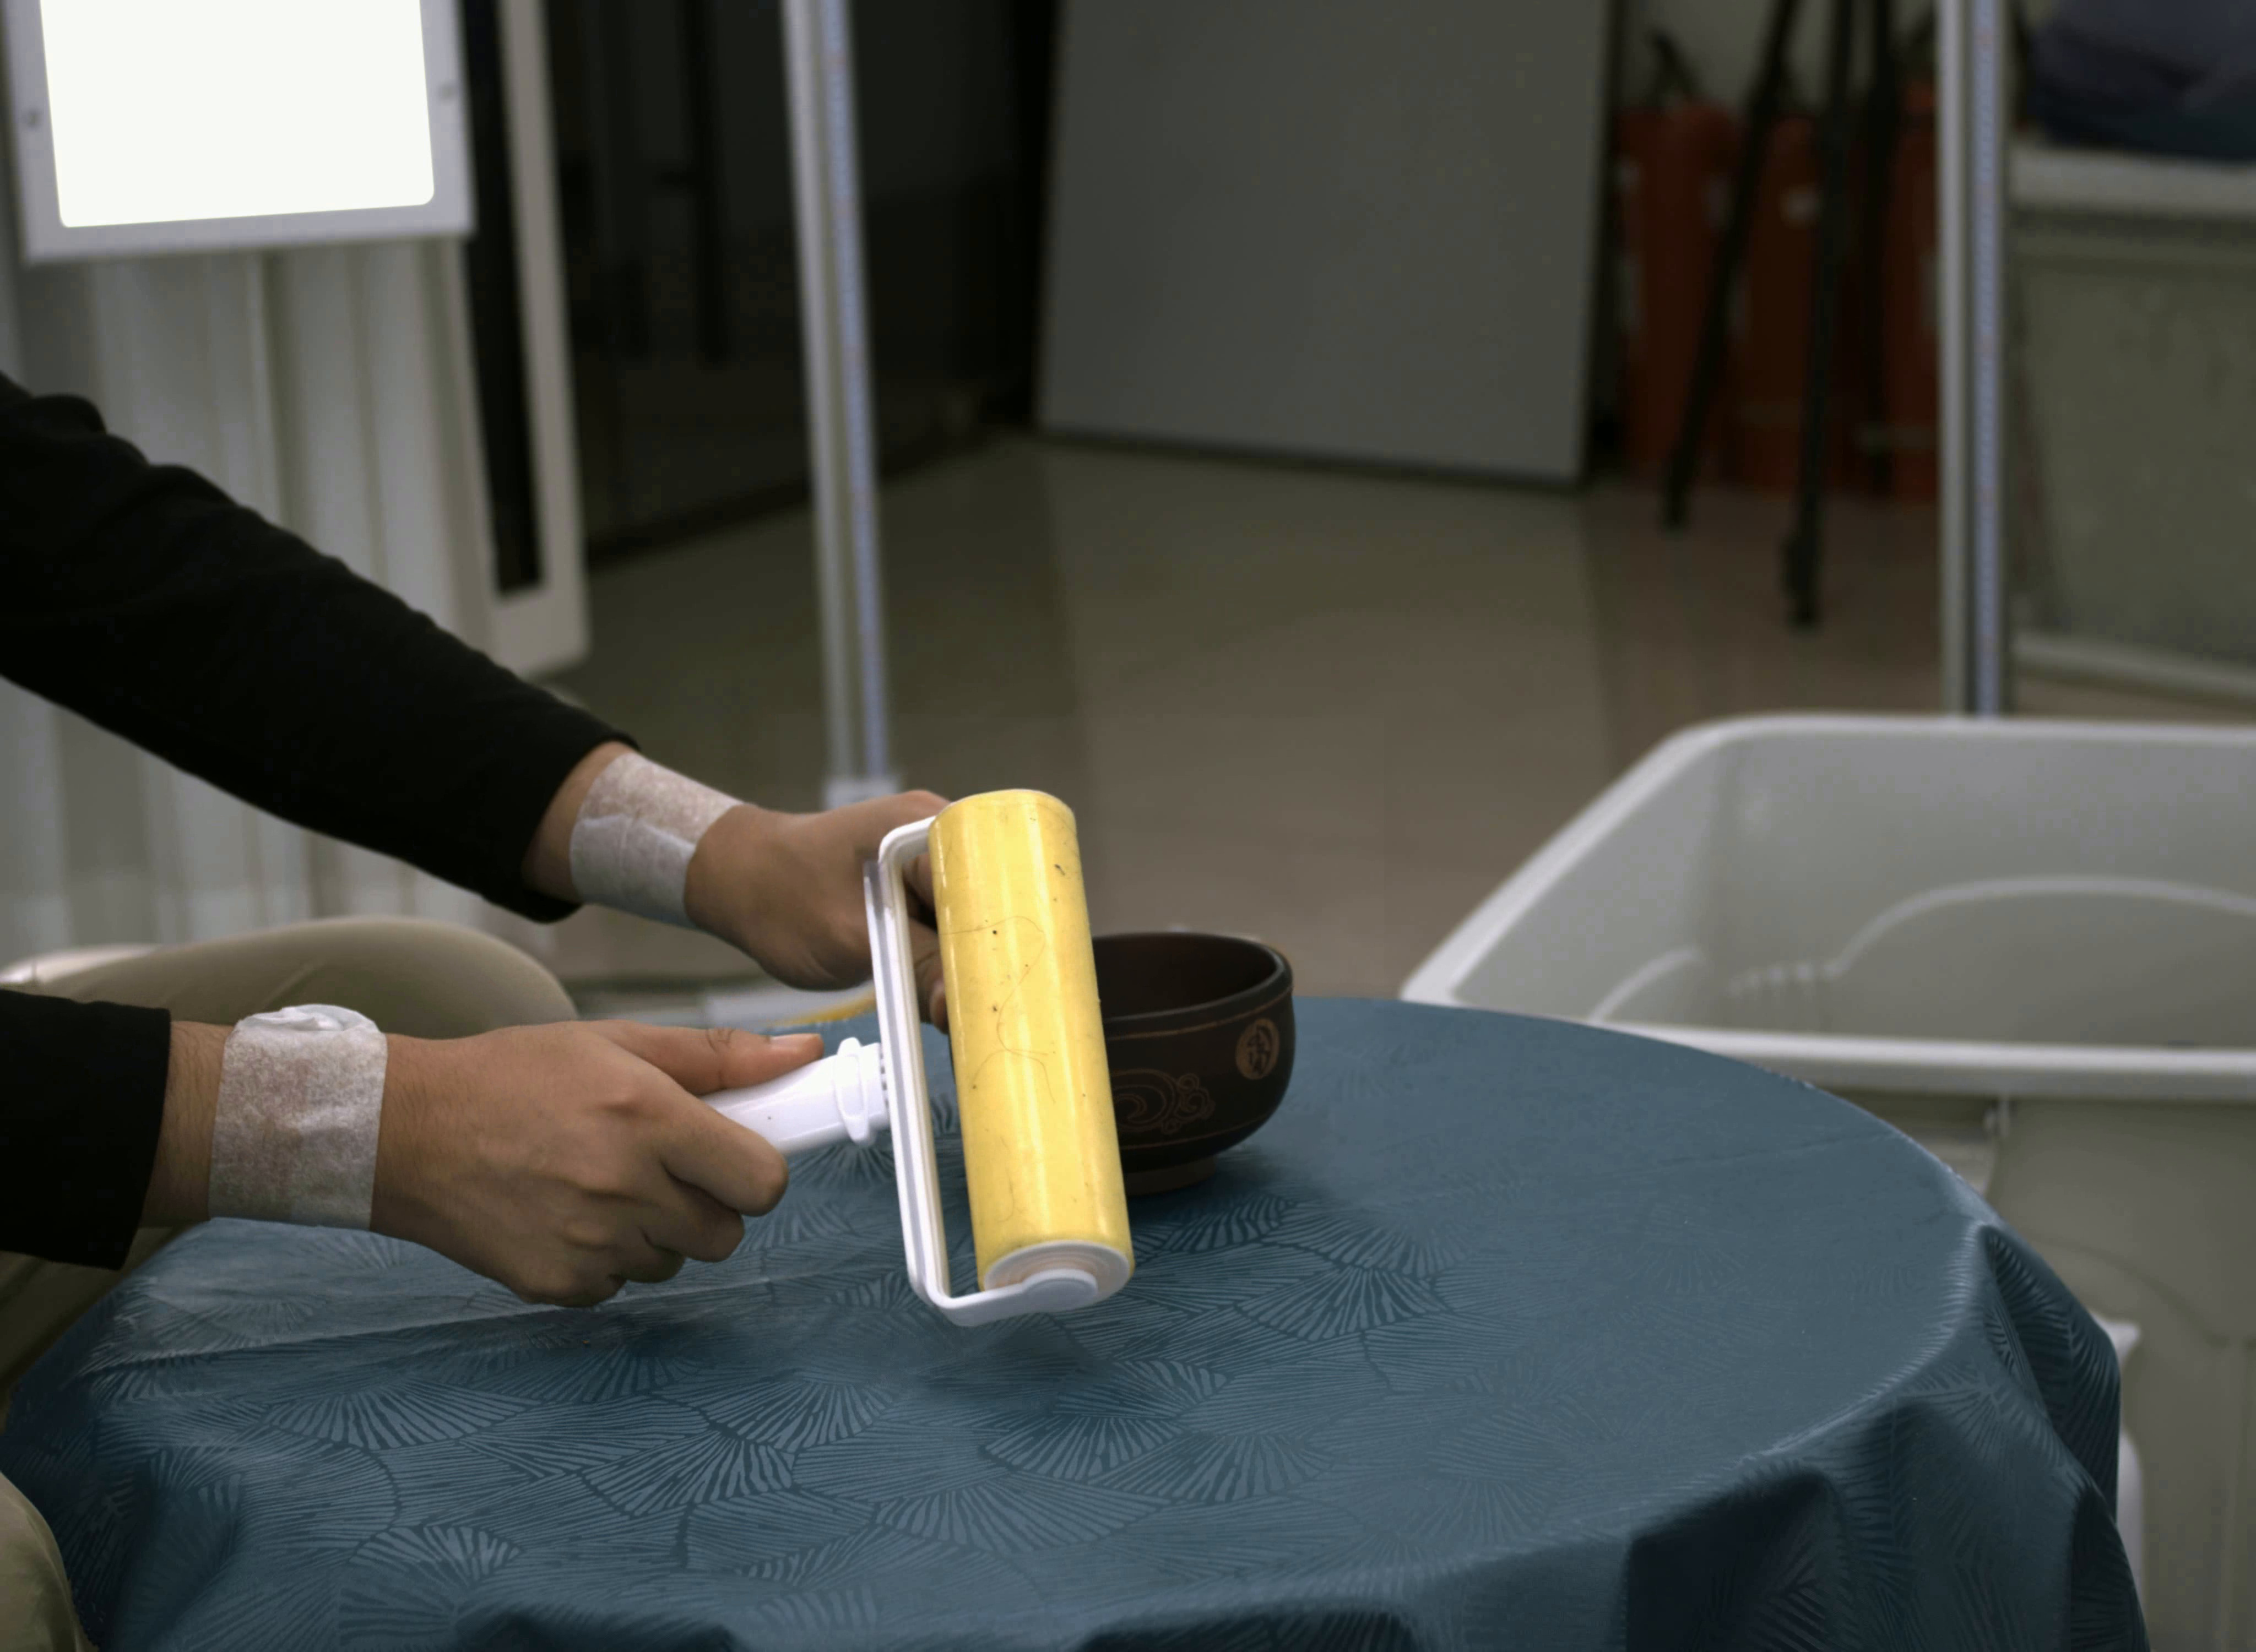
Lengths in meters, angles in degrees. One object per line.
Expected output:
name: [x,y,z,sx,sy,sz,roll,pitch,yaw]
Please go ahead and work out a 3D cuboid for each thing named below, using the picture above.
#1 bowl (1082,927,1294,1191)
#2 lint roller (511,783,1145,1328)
bowl: [-0.002,0.080,1.778,0.116,0.070,0.118,-4,11,0]
lint roller: [-0.099,0.083,1.648,0.190,0.051,0.176,-12,57,3]
